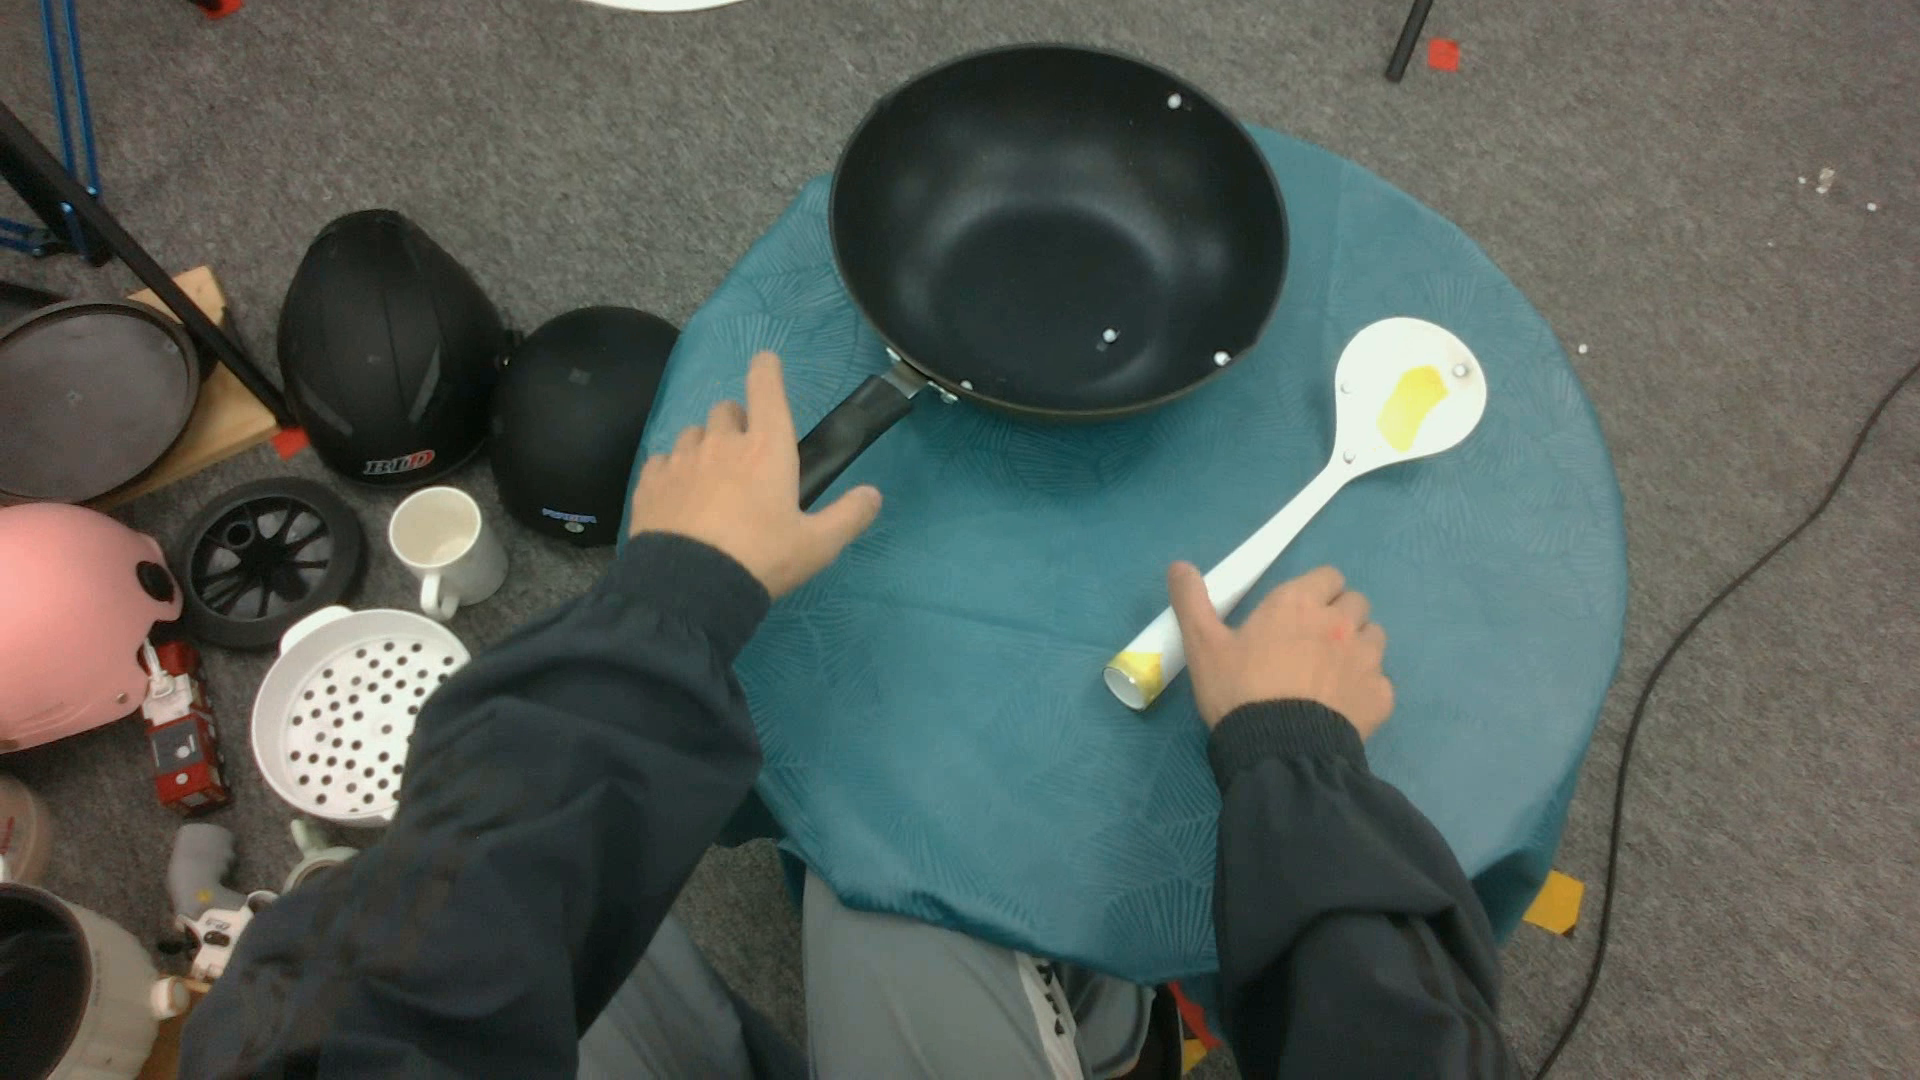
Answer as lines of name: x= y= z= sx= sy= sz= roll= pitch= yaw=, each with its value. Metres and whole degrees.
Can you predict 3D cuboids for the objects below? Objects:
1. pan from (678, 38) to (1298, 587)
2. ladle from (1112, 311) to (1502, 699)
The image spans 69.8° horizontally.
pan: x=0.009 y=-0.123 z=0.852 sx=0.288 sy=0.086 sz=0.465 roll=37 pitch=70 yaw=16
ladle: x=0.202 y=-0.020 z=0.815 sx=0.294 sy=0.069 sz=0.090 roll=-41 pitch=74 yaw=-17
